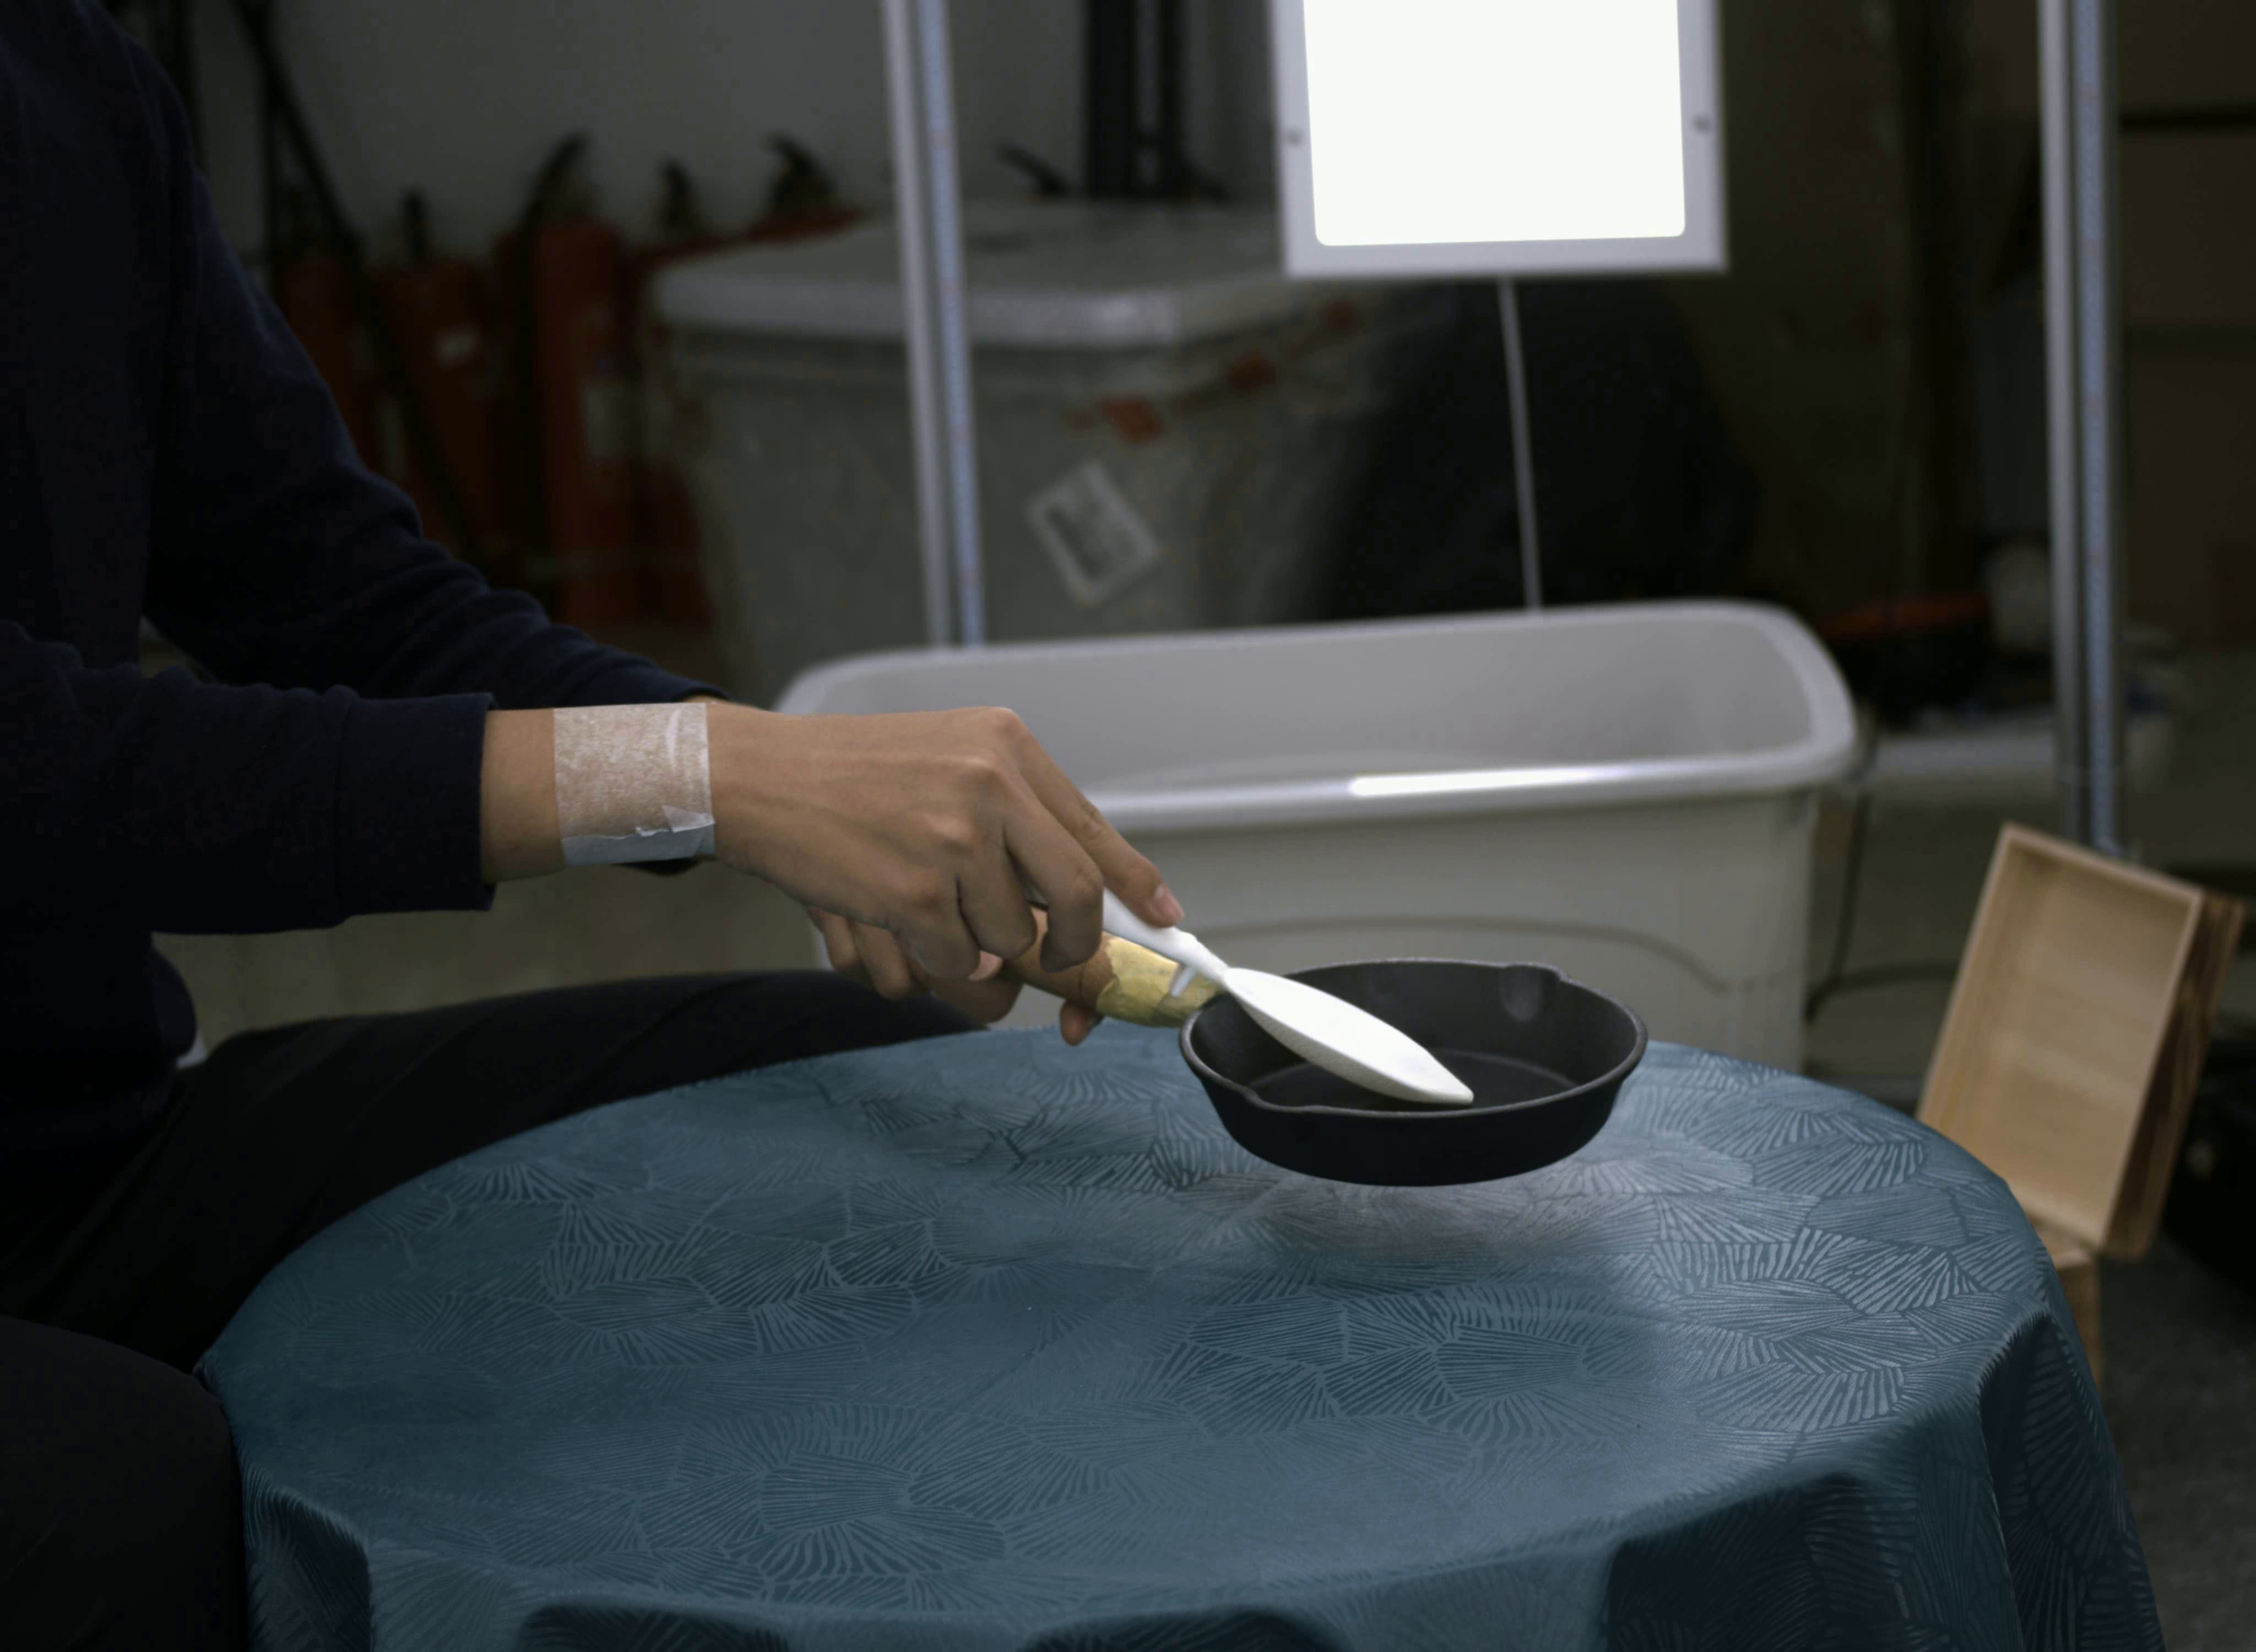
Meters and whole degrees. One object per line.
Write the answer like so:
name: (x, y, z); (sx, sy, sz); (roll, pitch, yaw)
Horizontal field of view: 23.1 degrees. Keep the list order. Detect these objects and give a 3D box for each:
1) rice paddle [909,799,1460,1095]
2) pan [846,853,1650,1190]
rice paddle: (0.024, 0.045, 1.846); (0.203, 0.029, 0.069); (25, 14, -11)
pan: (0.031, 0.062, 1.895); (0.331, 0.050, 0.164); (13, 23, 38)
